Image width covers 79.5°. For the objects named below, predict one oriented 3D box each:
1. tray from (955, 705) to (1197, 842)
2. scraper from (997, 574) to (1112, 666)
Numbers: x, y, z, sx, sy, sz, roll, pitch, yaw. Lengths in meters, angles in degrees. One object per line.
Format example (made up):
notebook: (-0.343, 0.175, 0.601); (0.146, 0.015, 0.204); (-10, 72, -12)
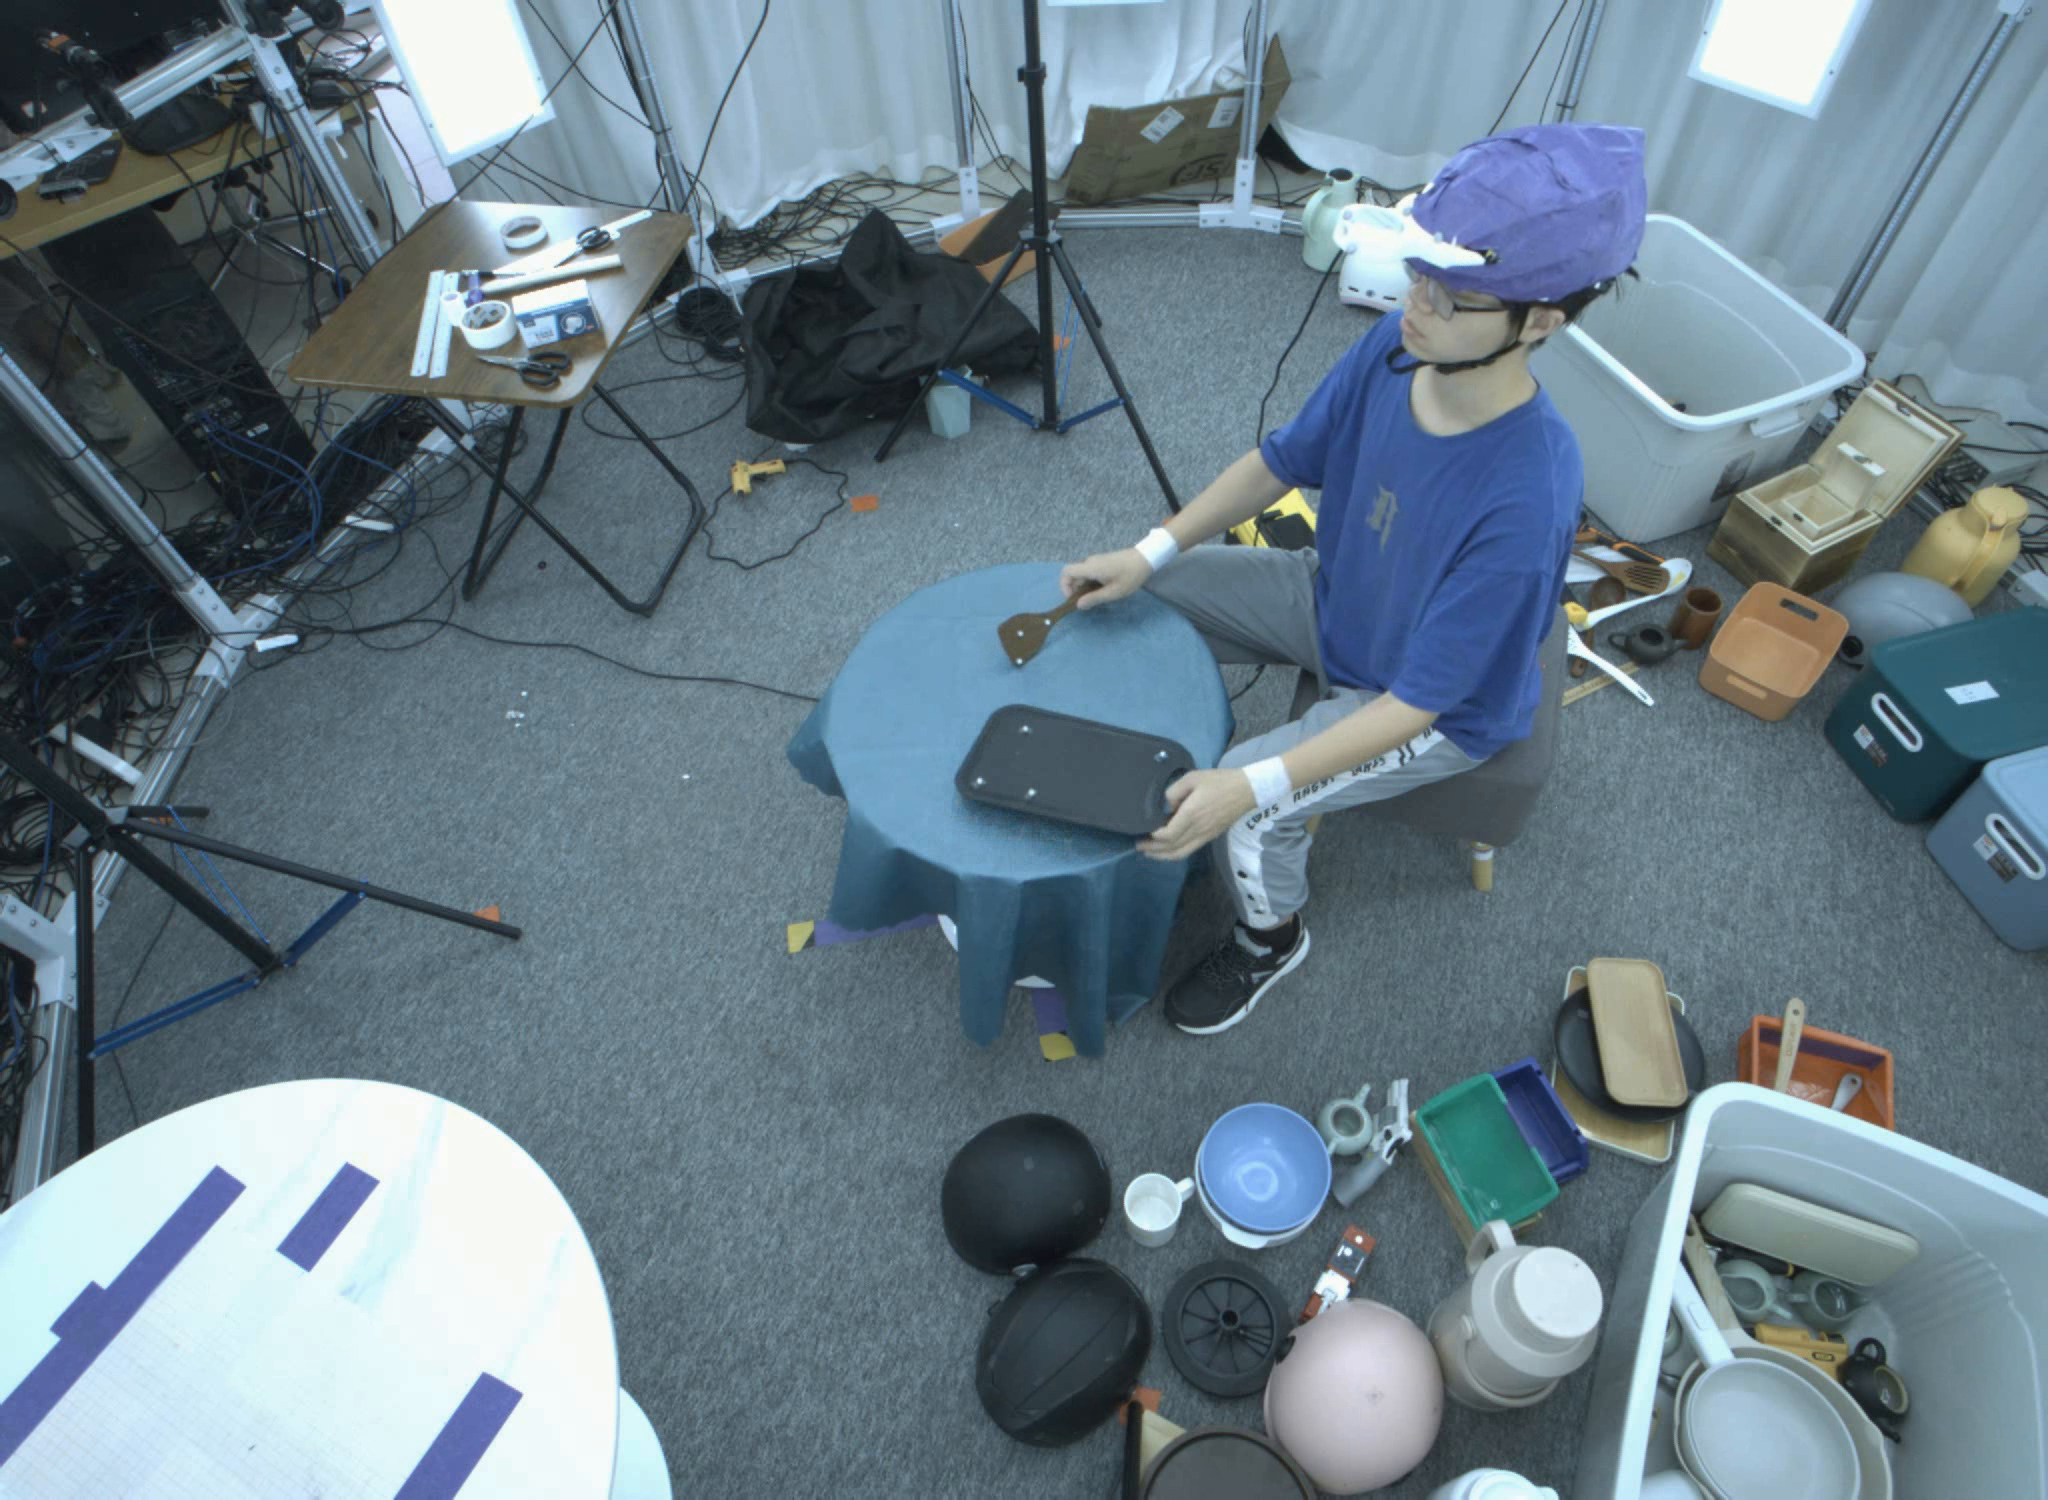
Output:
tray: (0.080, 0.028, 1.727); (0.322, 0.010, 0.211); (14, 47, 14)
scraper: (0.051, -0.210, 1.885); (0.213, 0.077, 0.010); (-34, 26, -19)
